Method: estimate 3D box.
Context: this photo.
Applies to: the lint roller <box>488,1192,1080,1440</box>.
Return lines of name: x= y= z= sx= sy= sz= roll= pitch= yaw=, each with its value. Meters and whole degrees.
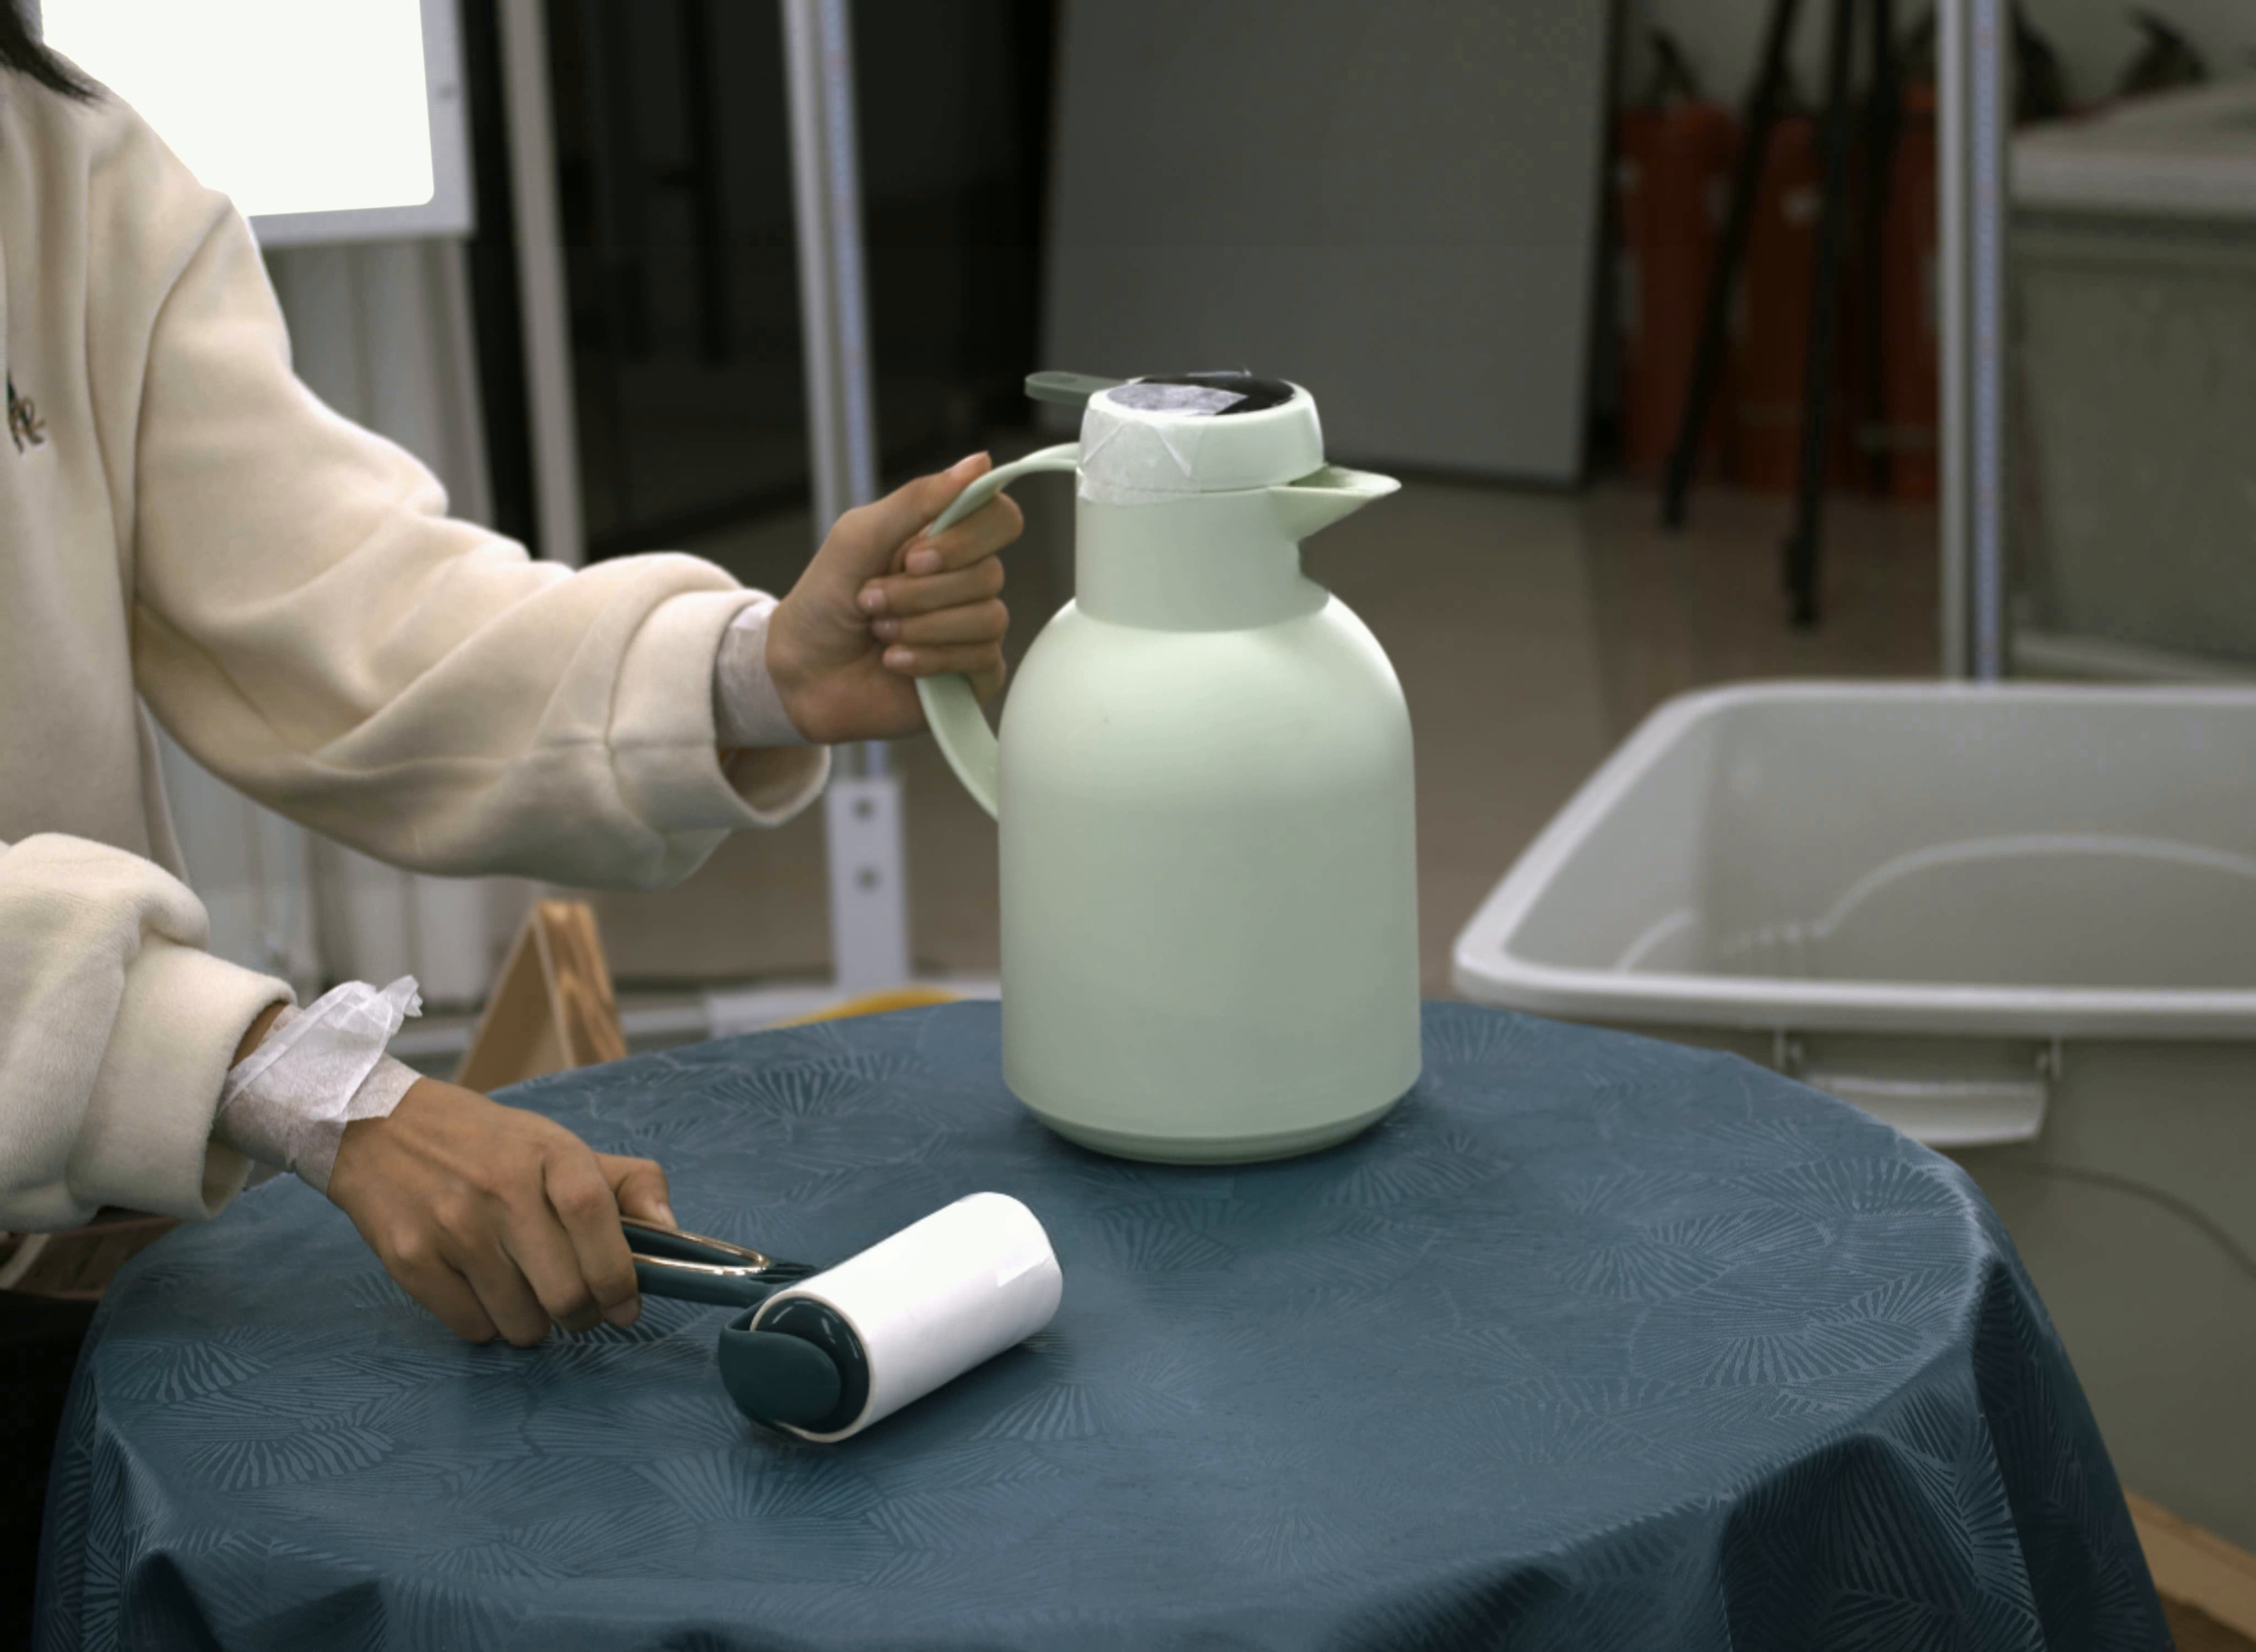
lint roller: x=-0.120 y=0.128 z=1.629 sx=0.181 sy=0.049 sz=0.132 roll=16 pitch=22 yaw=31

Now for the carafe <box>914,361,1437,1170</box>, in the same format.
carafe: x=0.016 y=-0.026 z=1.821 sx=0.188 sy=0.259 sz=0.142 roll=4 pitch=18 yaw=32
